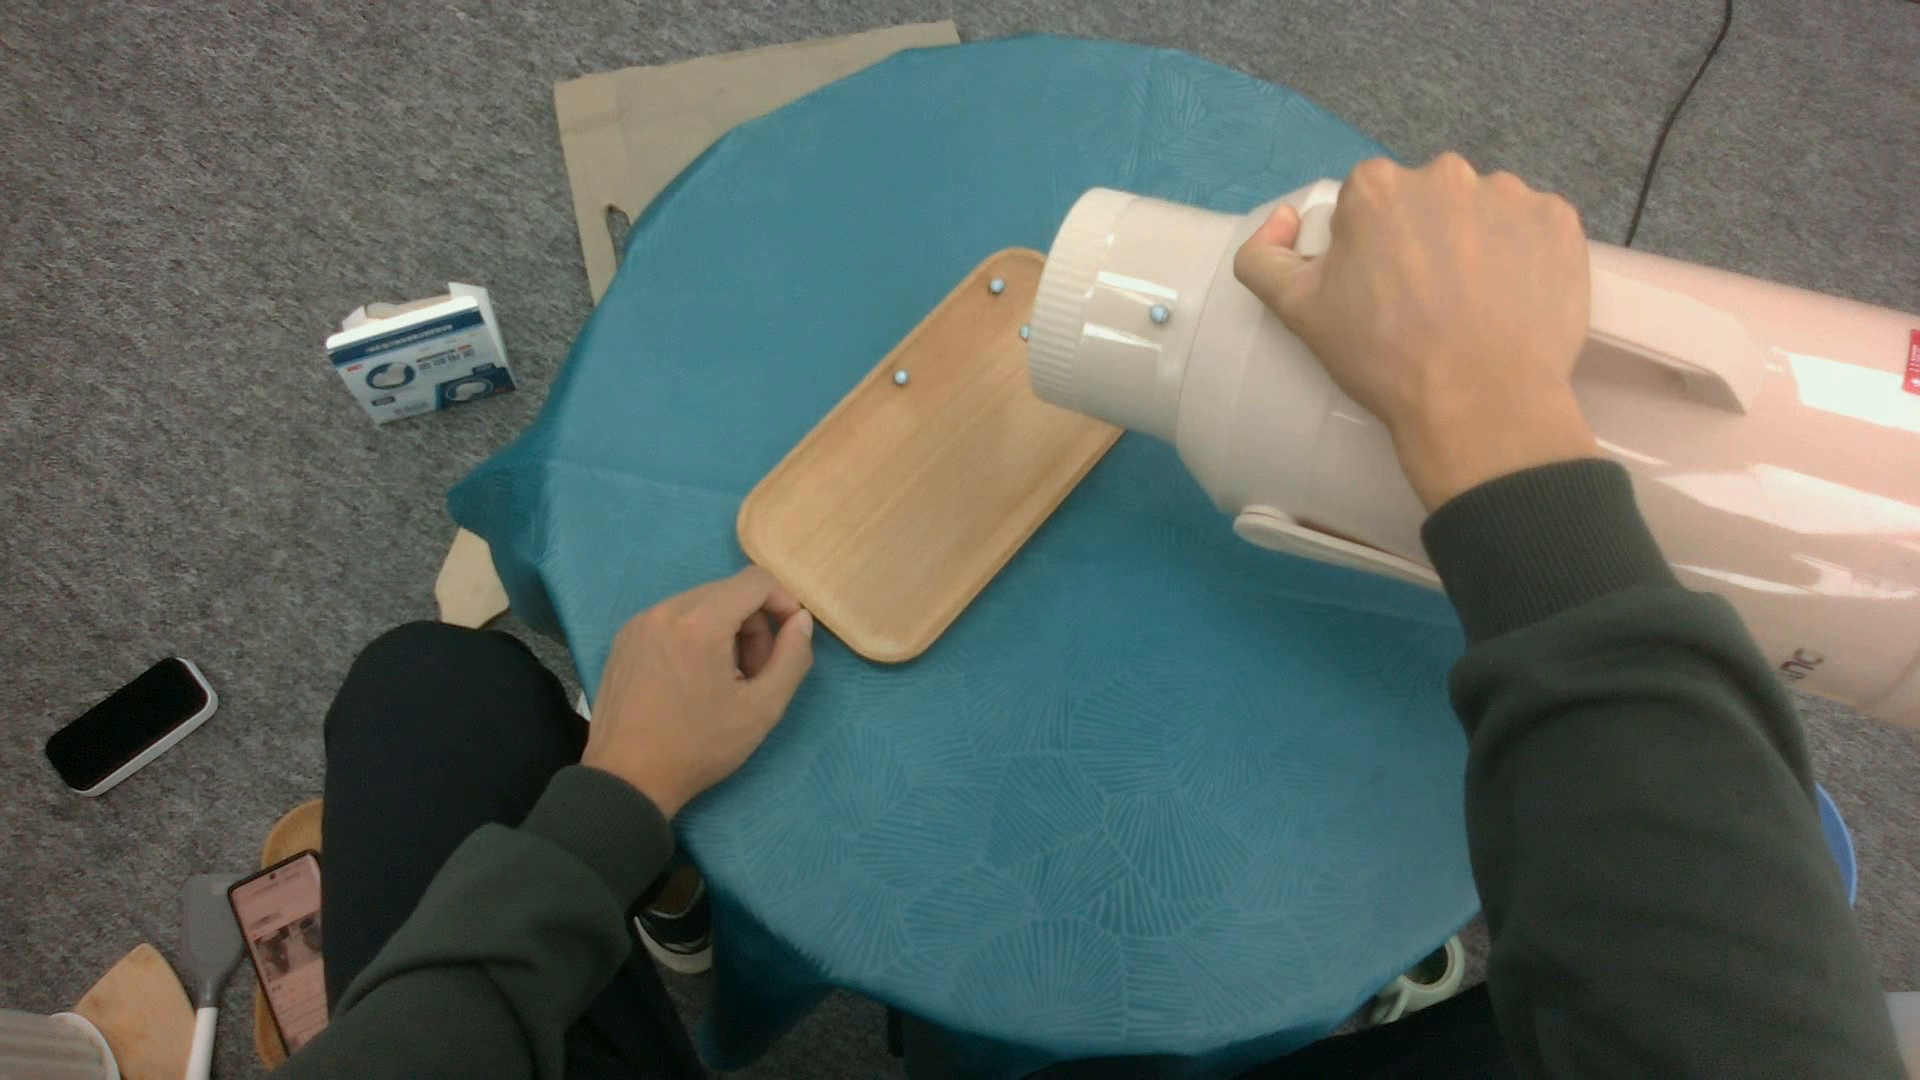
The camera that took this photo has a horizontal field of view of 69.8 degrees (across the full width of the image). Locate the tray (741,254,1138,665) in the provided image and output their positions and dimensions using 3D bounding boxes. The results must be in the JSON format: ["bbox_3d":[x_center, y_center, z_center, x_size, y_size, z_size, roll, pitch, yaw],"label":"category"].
[{"bbox_3d":[-0.001,-0.050,0.773,0.130,0.023,0.251,40,72,11],"label":"tray"}]

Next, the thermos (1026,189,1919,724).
[{"bbox_3d":[0.231,-0.061,0.601,0.406,0.206,0.175,19,77,18],"label":"thermos"}]
